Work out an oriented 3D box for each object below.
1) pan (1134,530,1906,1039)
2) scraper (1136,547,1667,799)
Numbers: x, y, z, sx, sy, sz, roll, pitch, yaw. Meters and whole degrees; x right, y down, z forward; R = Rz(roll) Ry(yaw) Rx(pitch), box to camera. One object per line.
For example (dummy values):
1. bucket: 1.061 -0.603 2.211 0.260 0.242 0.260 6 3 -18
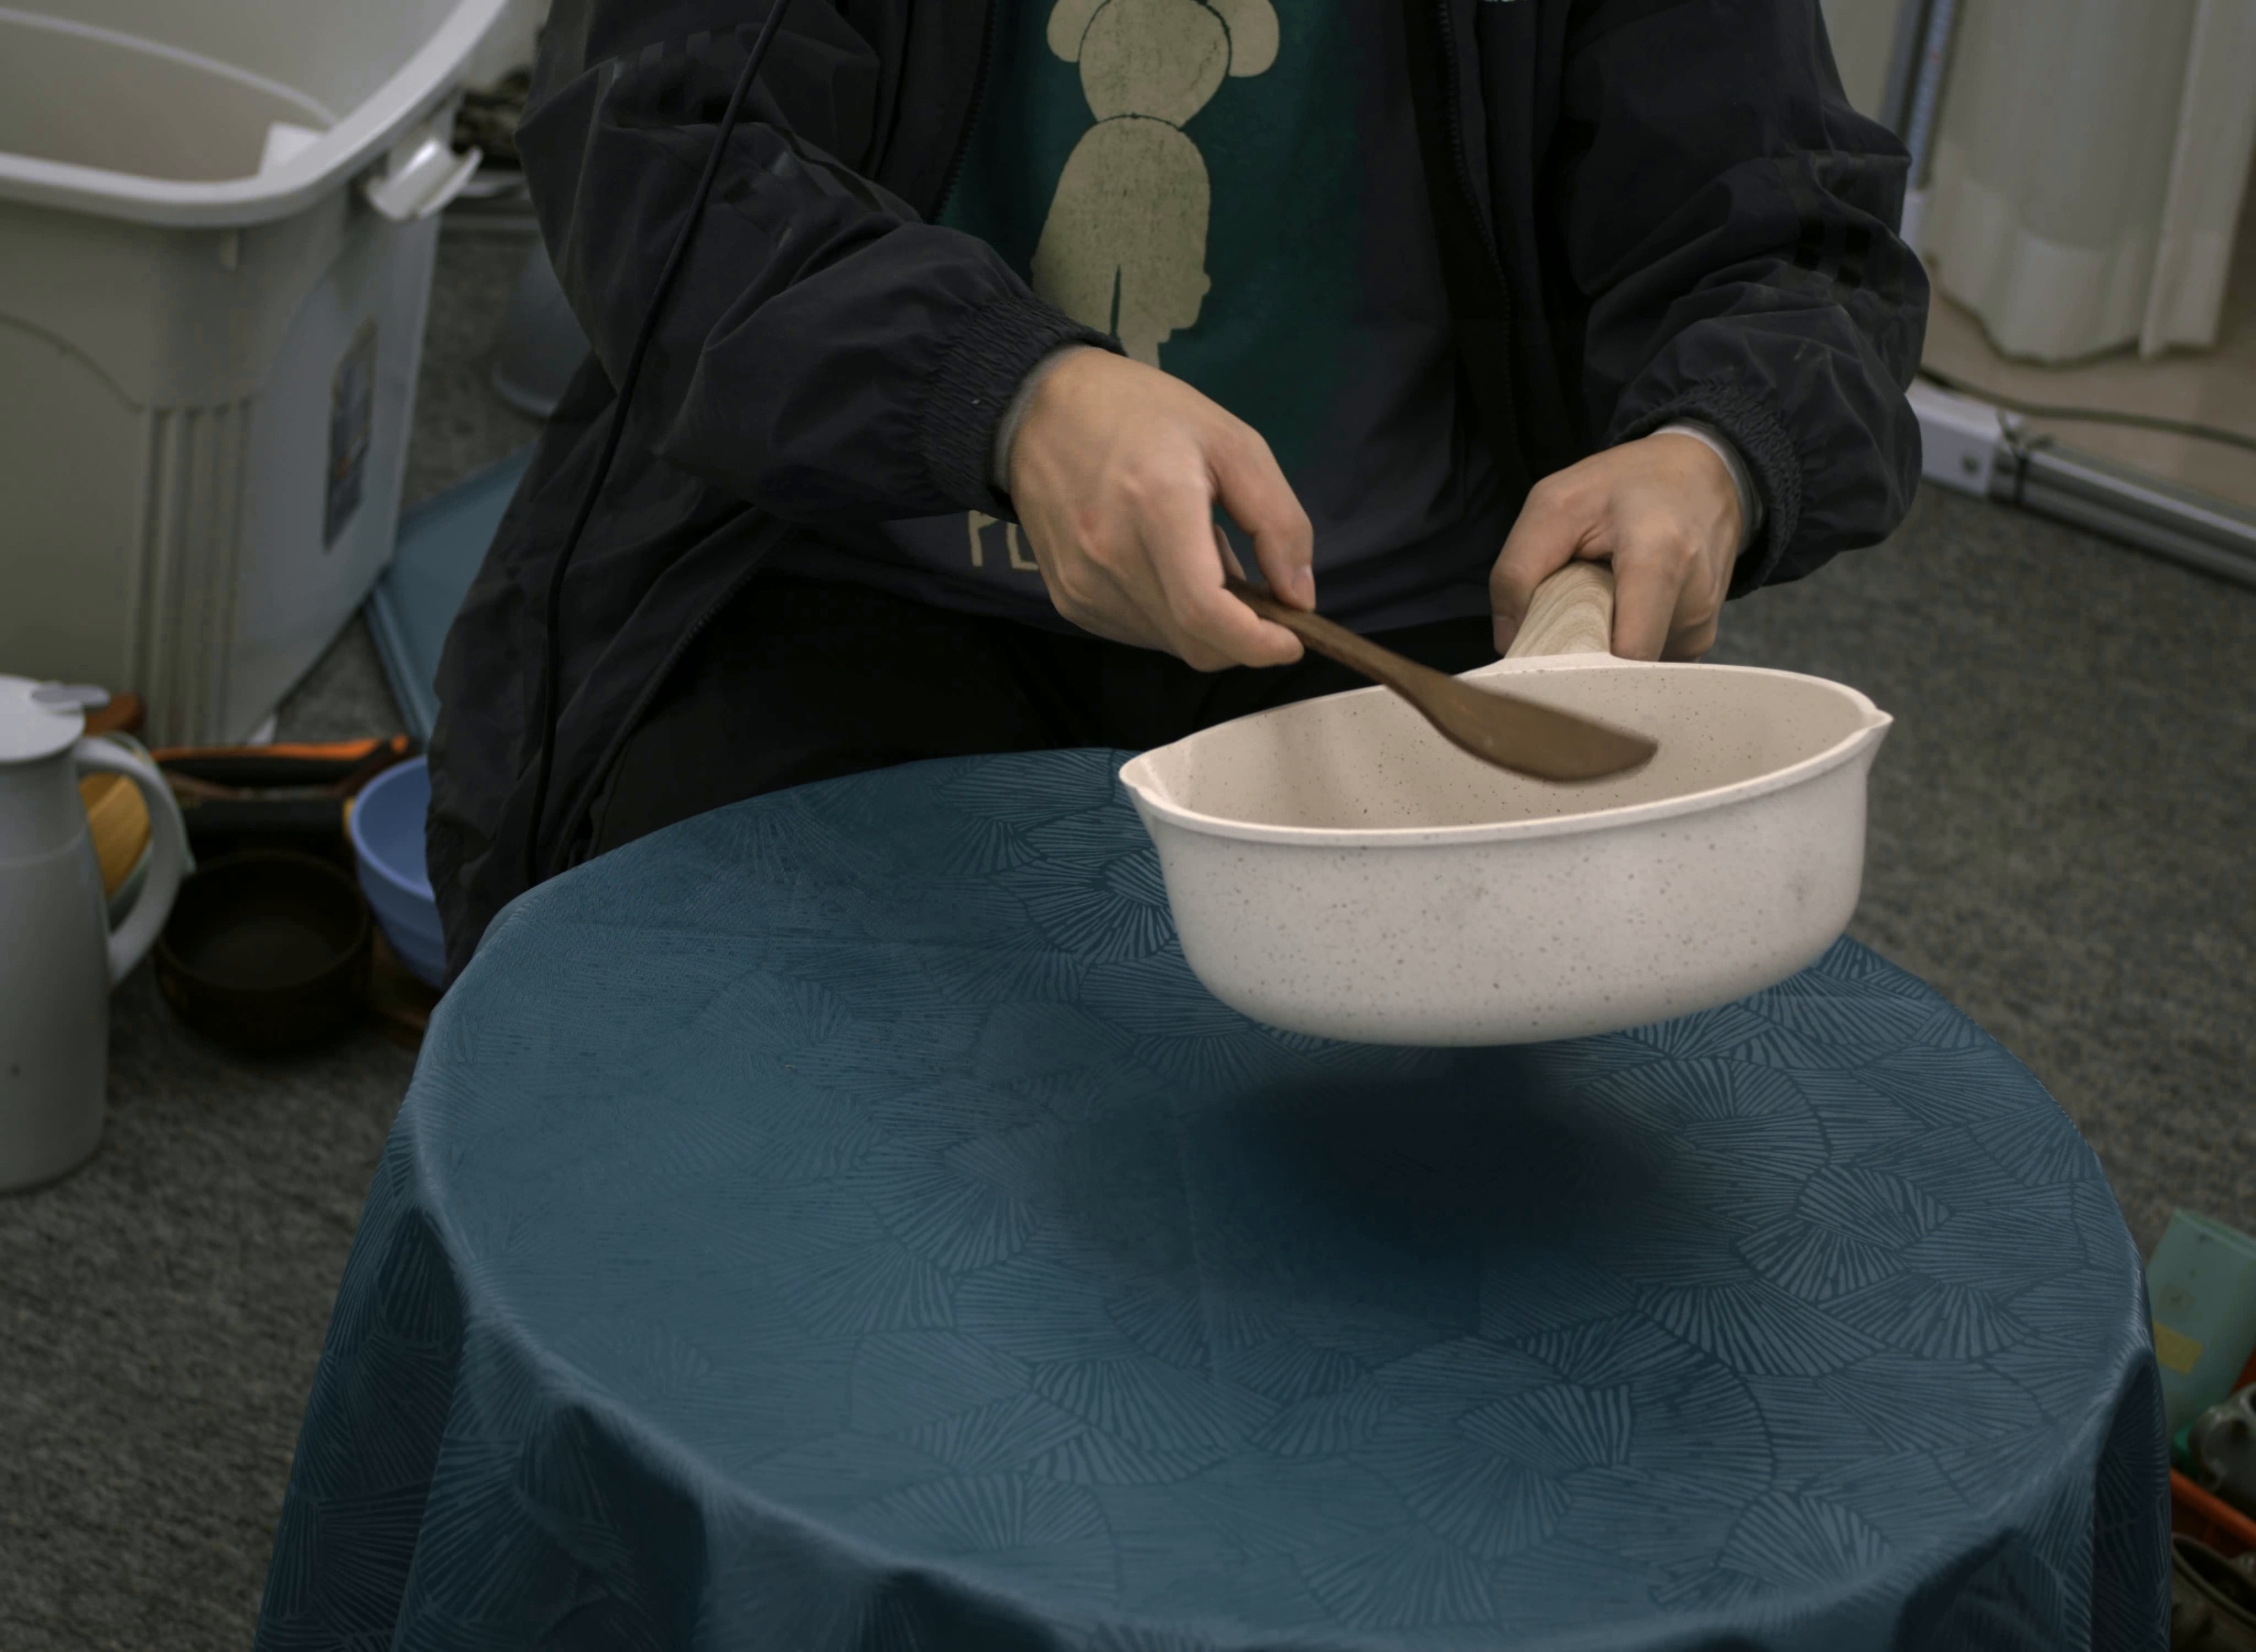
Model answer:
1. pan: 0.152 -0.019 1.888 0.263 0.102 0.435 -6 12 13
2. scraper: 0.090 -0.054 1.869 0.212 0.011 0.075 28 22 28
